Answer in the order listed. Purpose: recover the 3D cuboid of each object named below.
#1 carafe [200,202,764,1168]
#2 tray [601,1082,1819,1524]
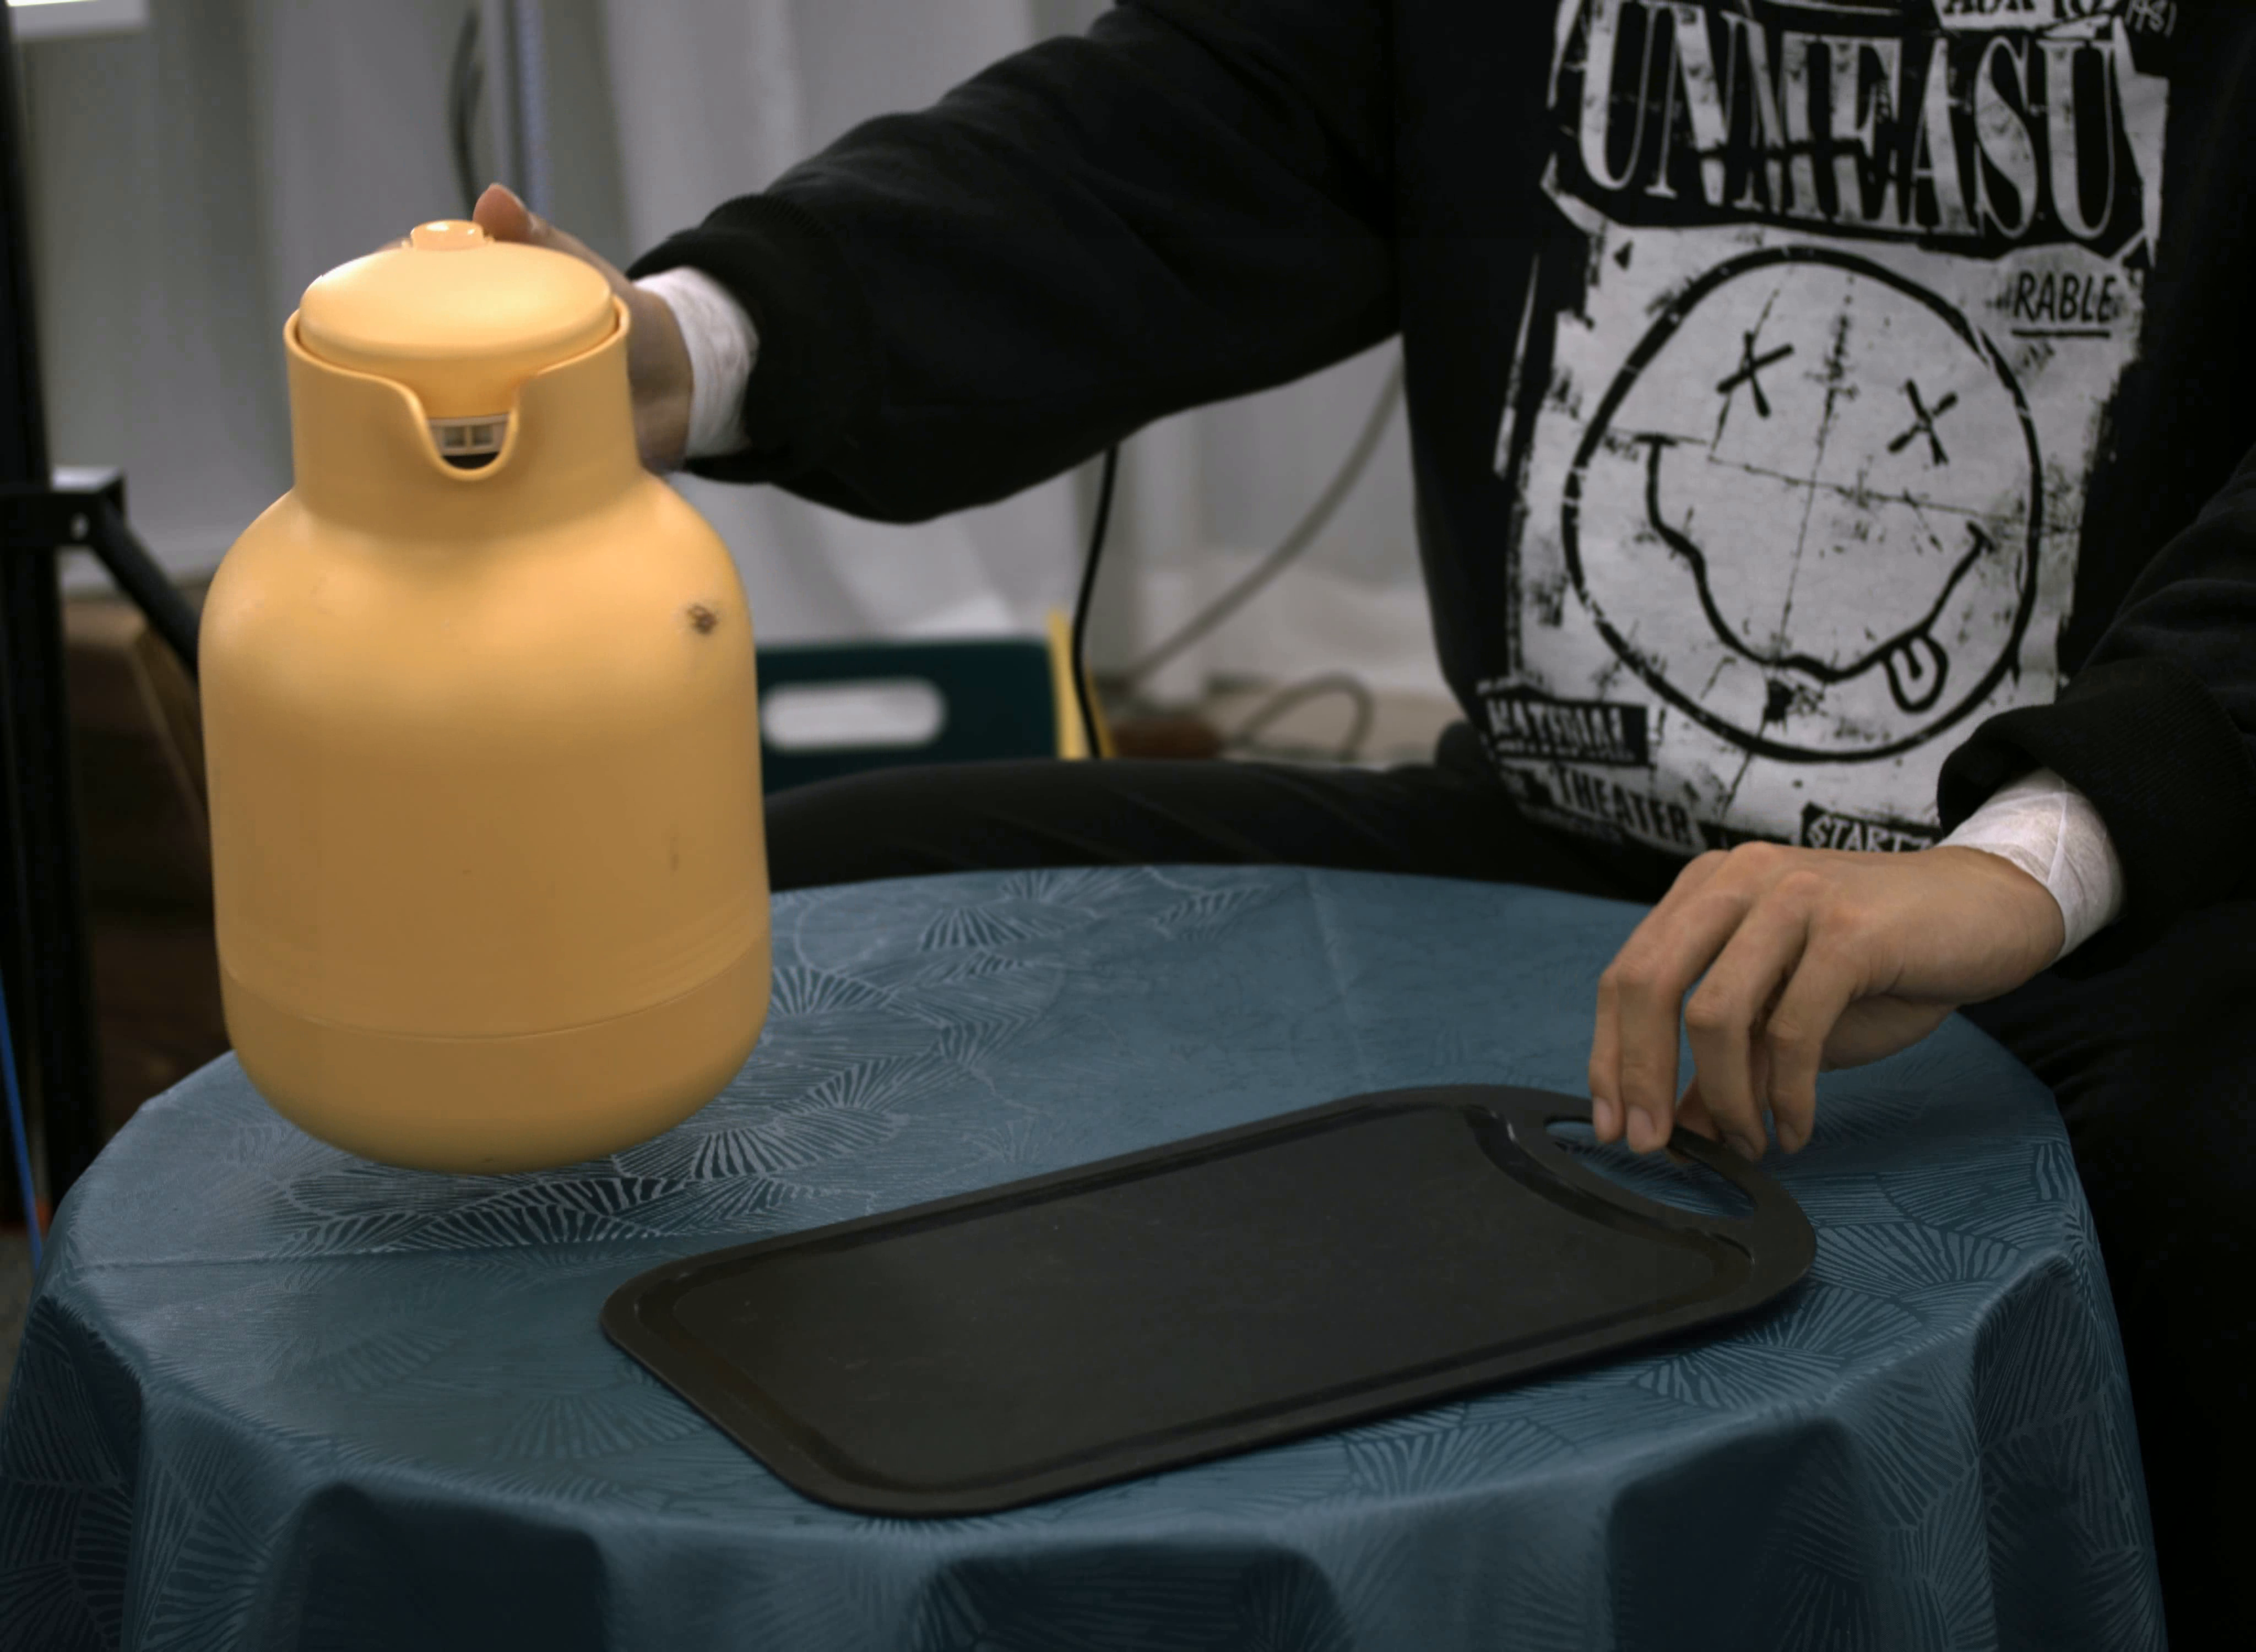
[{"bbox_3d":[-0.189,-0.050,1.567,0.162,0.260,0.205,-1,26,-7],"label":"carafe"},{"bbox_3d":[0.028,0.123,1.466,0.319,0.010,0.215,-12,19,-23],"label":"tray"}]
